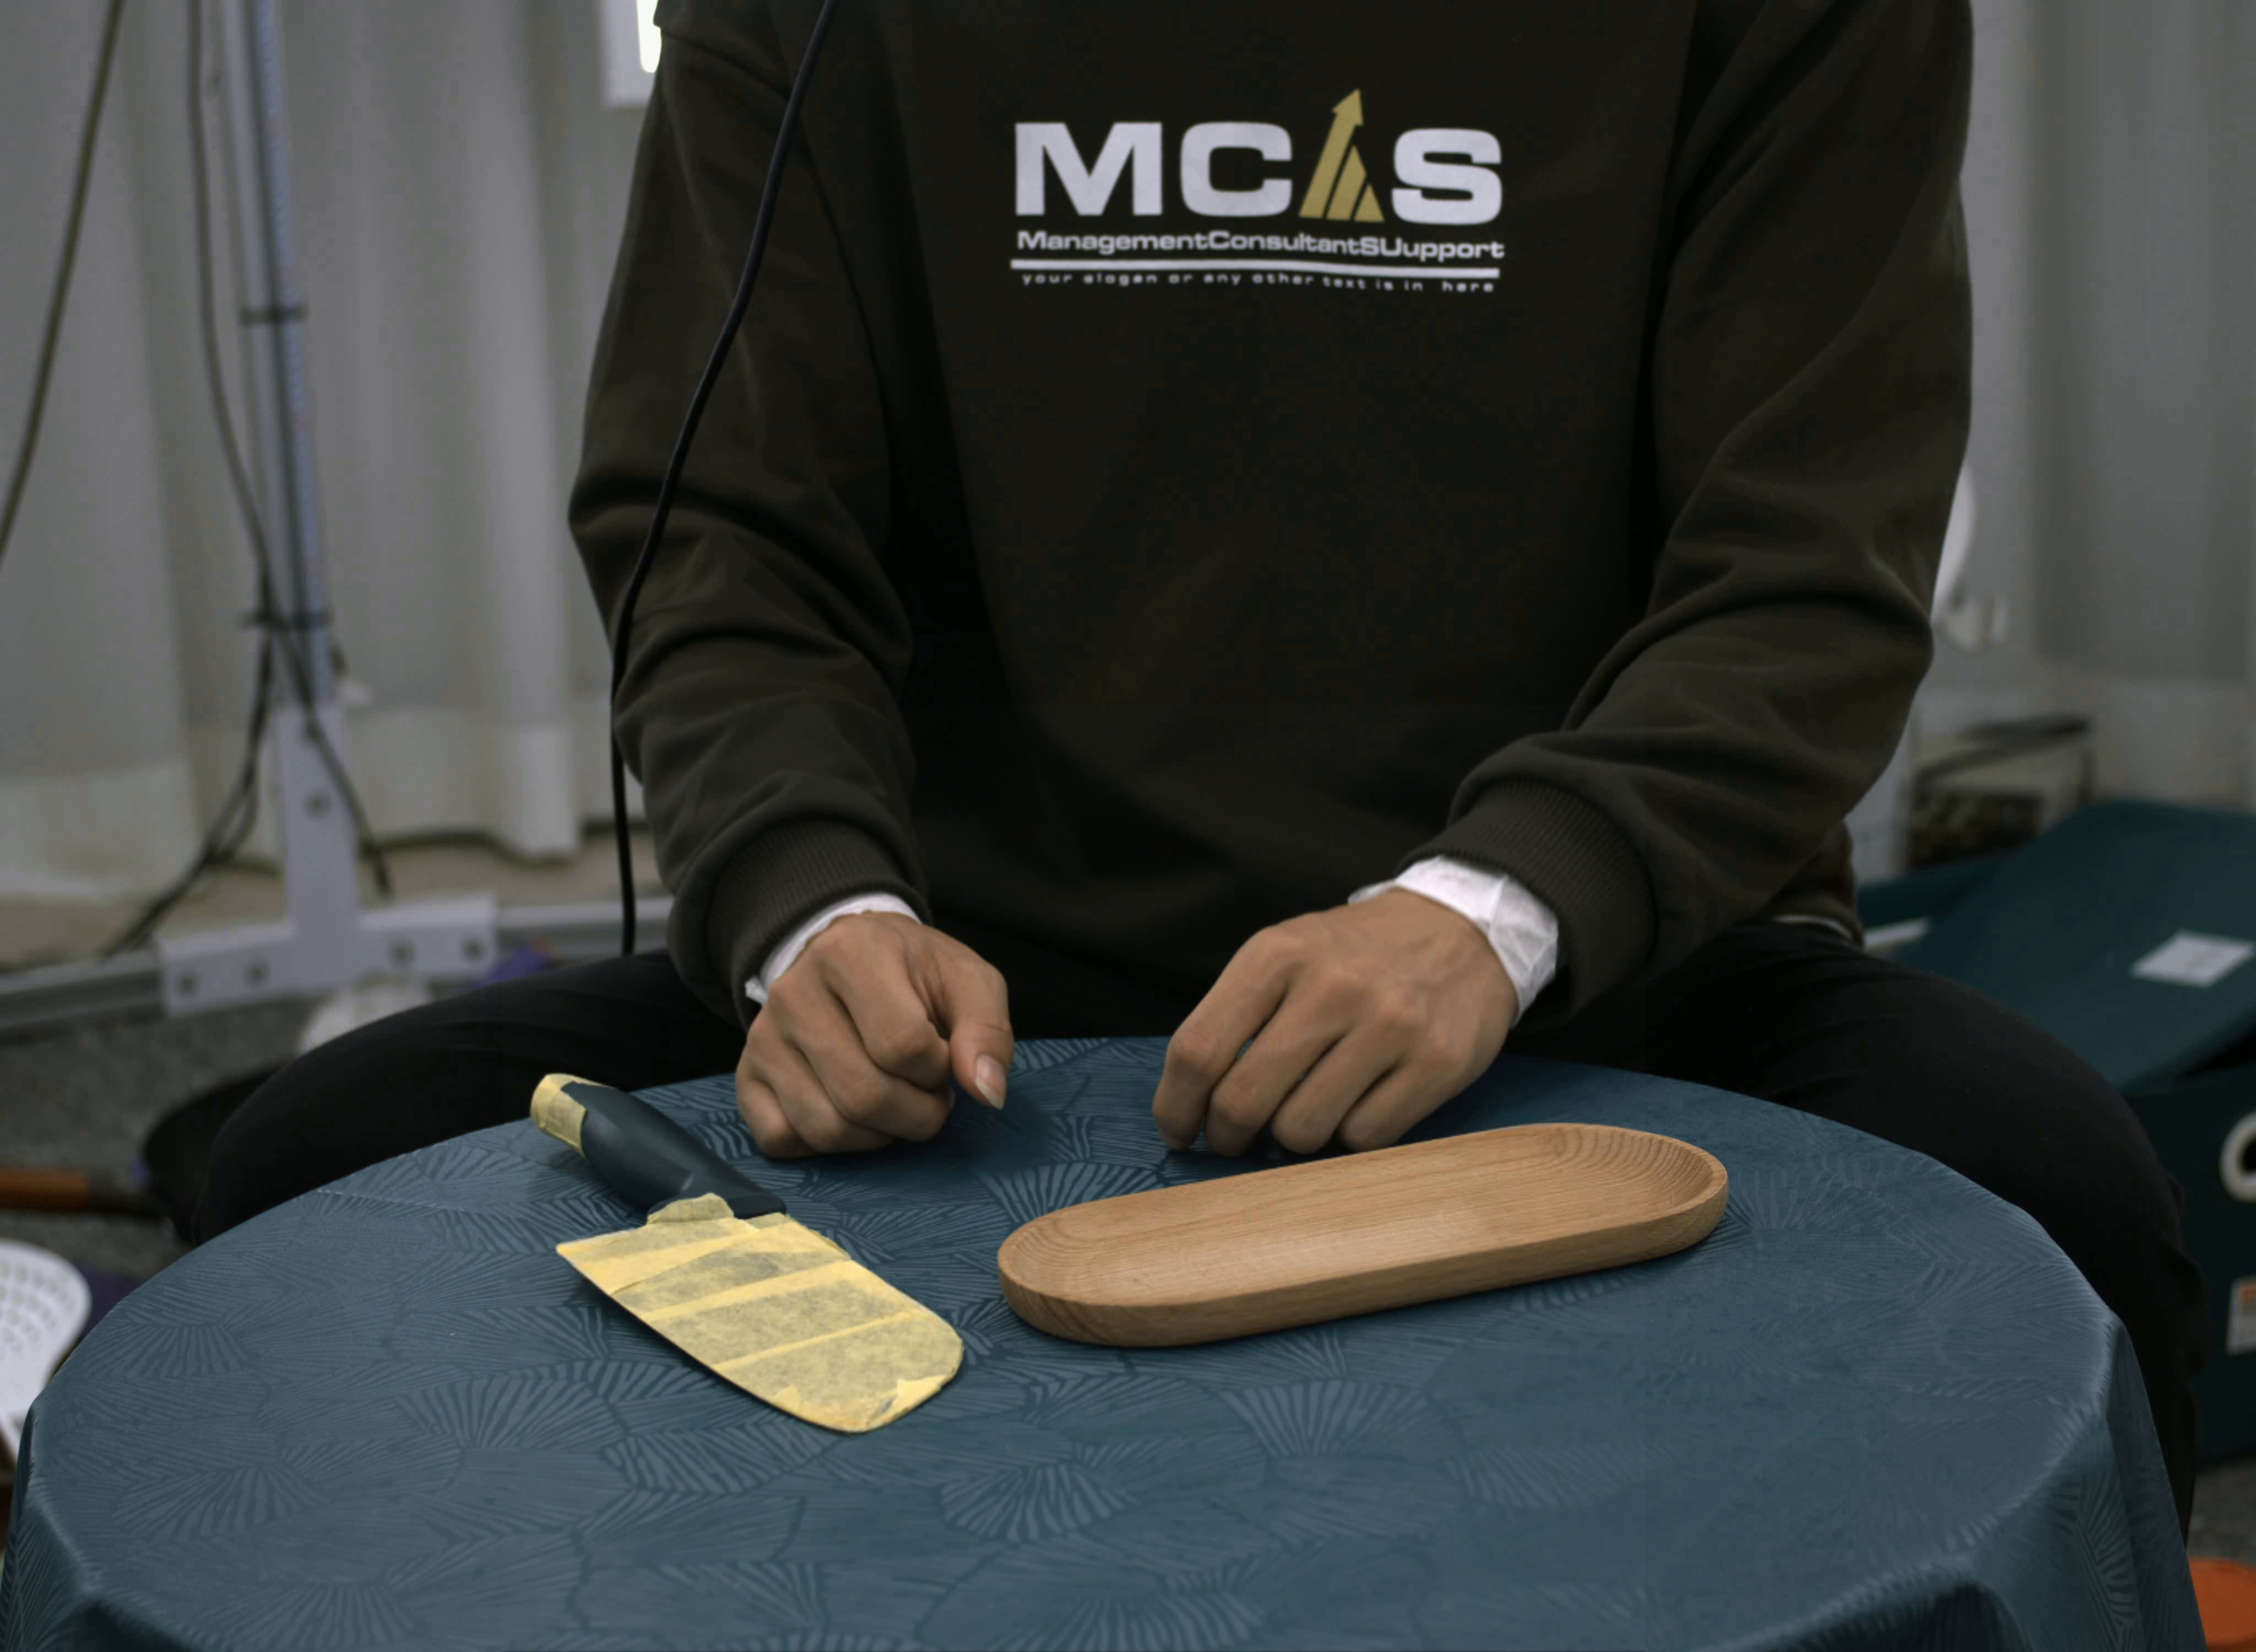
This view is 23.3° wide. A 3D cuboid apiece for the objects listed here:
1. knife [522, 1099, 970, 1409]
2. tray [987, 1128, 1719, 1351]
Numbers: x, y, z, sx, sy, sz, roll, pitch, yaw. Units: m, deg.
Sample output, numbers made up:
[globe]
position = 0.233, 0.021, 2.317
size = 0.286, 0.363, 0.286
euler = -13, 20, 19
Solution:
[knife]
position = -0.130, 0.130, 1.655
size = 0.080, 0.027, 0.292
euler = -8, 16, -26
[tray]
position = 0.069, 0.124, 1.640
size = 0.230, 0.020, 0.102
euler = -10, 15, -20
